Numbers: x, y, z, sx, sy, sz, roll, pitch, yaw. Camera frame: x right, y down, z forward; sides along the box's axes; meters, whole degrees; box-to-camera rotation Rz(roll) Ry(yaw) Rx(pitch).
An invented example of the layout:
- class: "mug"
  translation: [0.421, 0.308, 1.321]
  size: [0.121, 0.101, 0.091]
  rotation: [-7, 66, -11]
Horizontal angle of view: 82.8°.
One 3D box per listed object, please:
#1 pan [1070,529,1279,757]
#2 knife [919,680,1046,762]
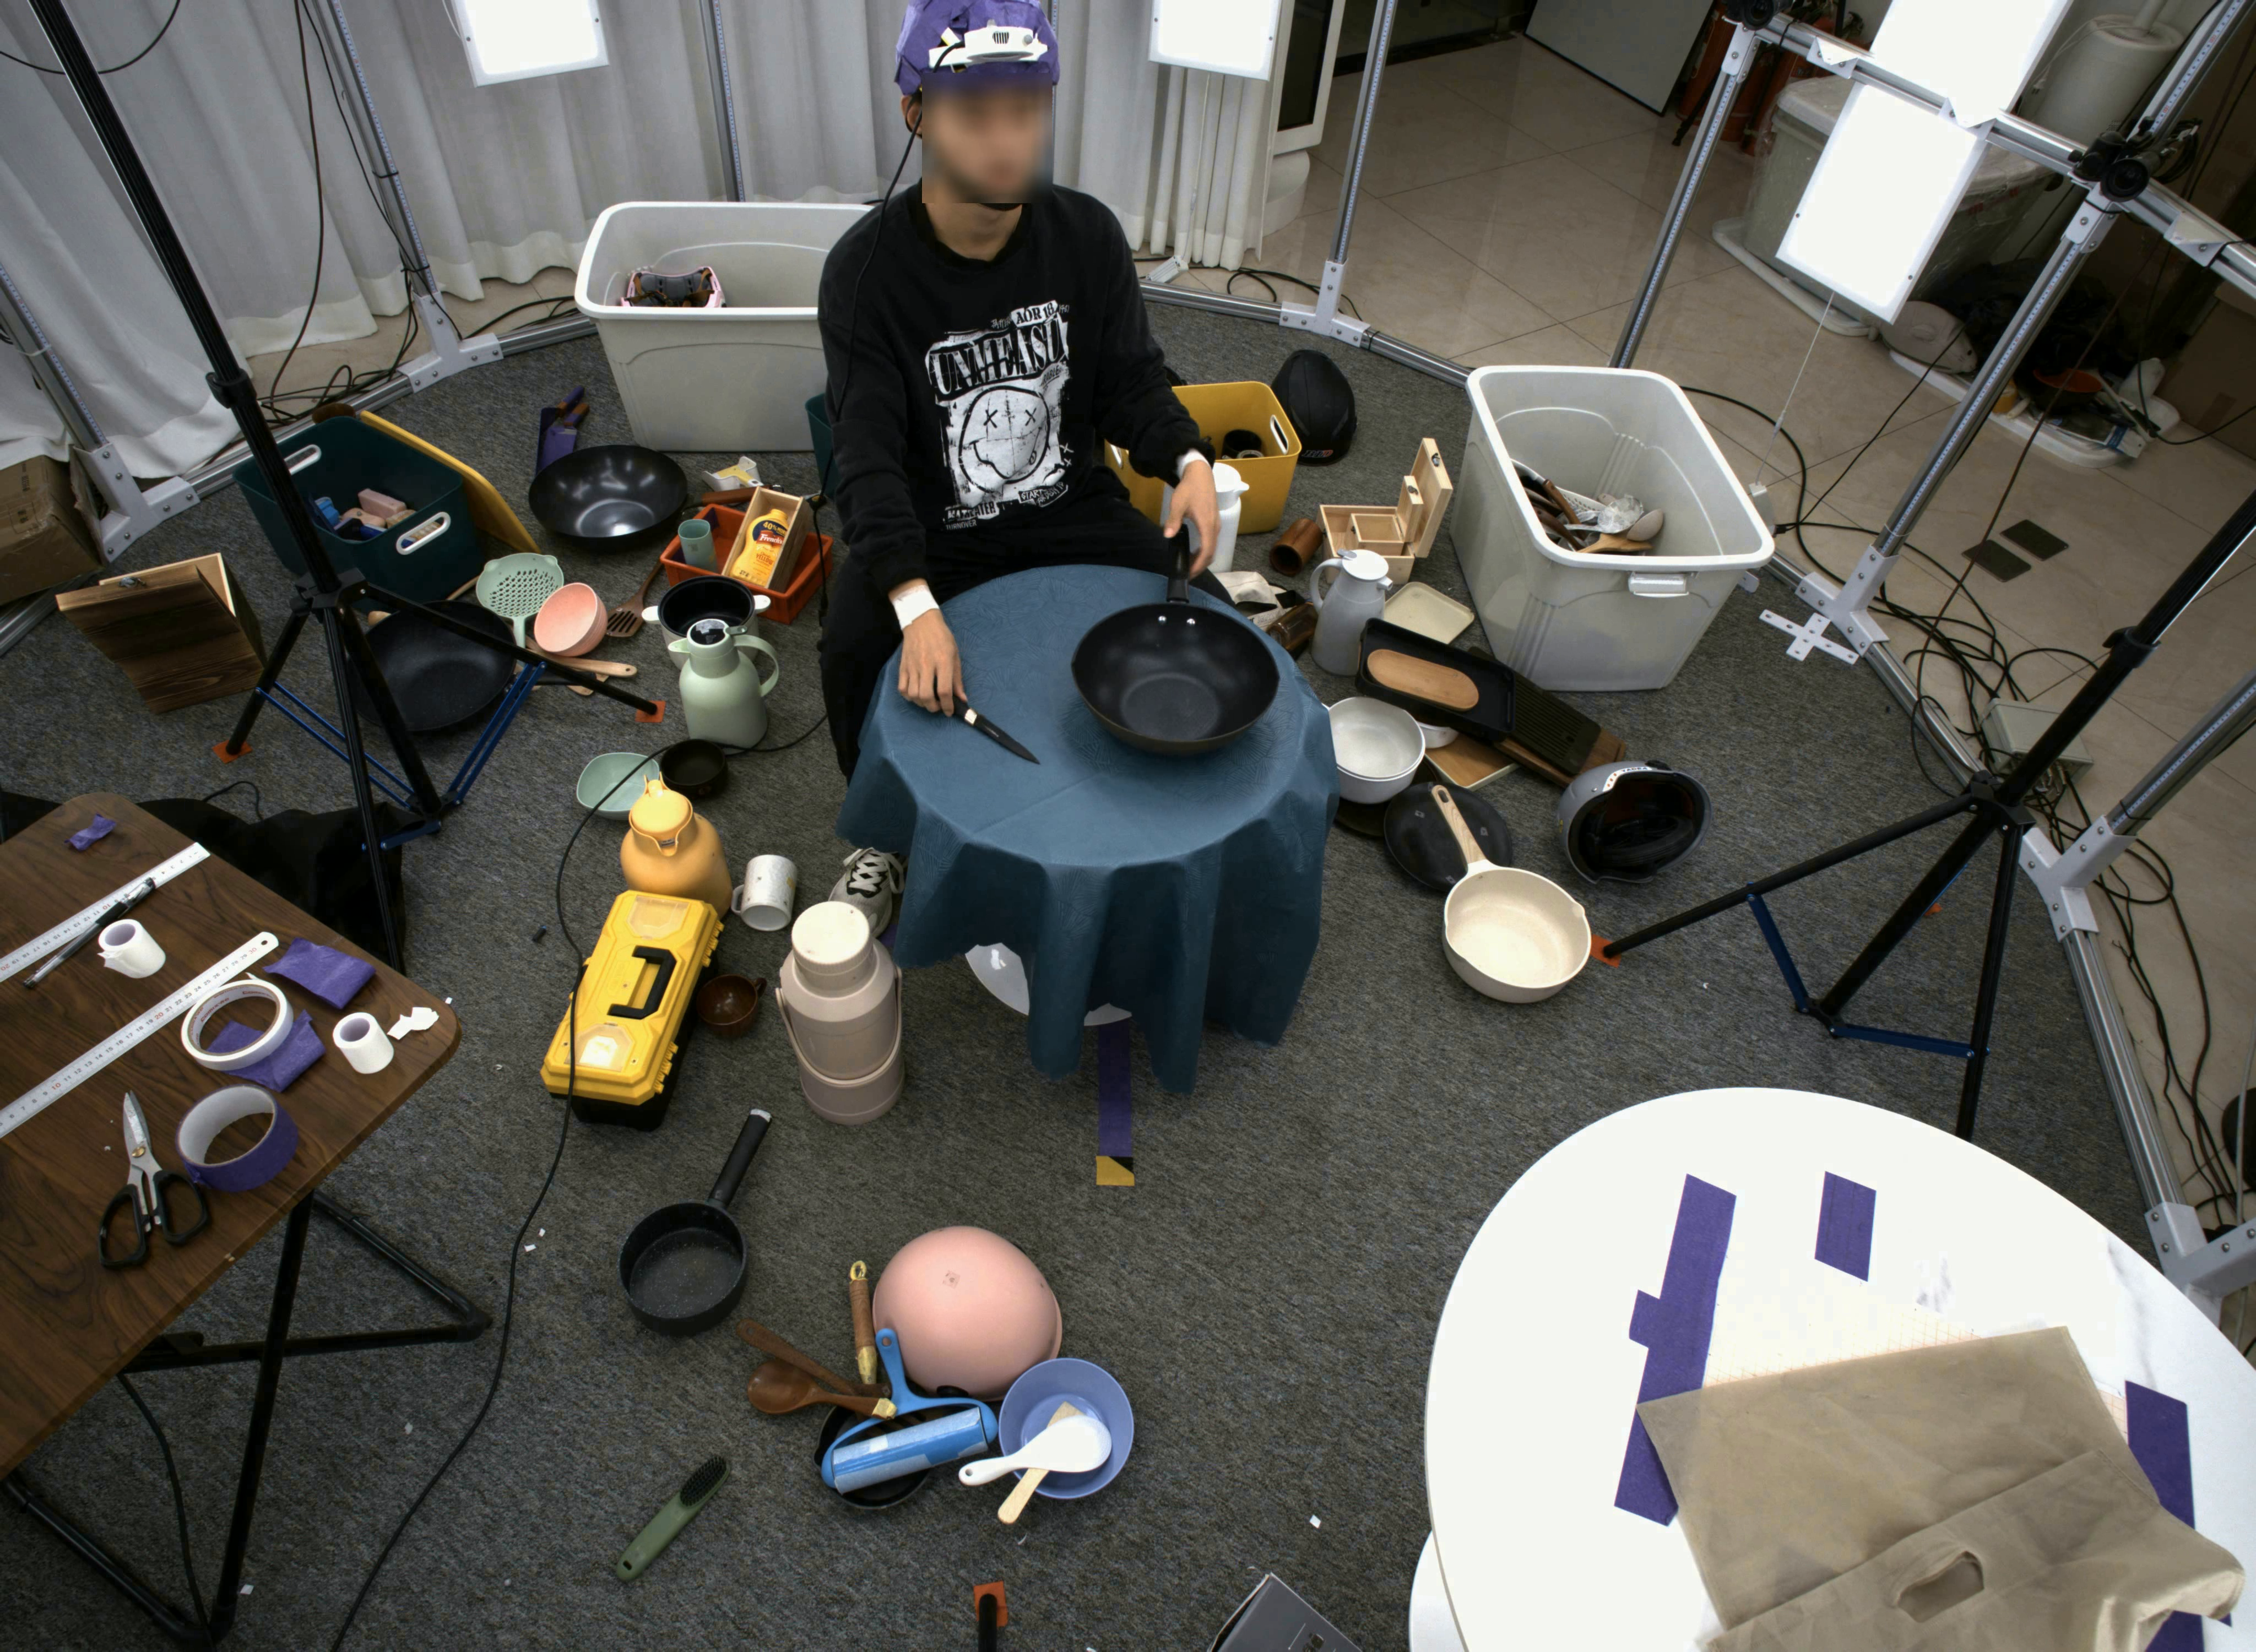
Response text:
- class: "pan"
  translation: [0.067, -0.258, 1.845]
  size: [0.288, 0.085, 0.475]
  rotation: [4, 48, 0]
- class: "knife"
  translation: [-0.202, -0.145, 1.777]
  size: [0.228, 0.017, 0.026]
  rotation: [34, 42, 22]
